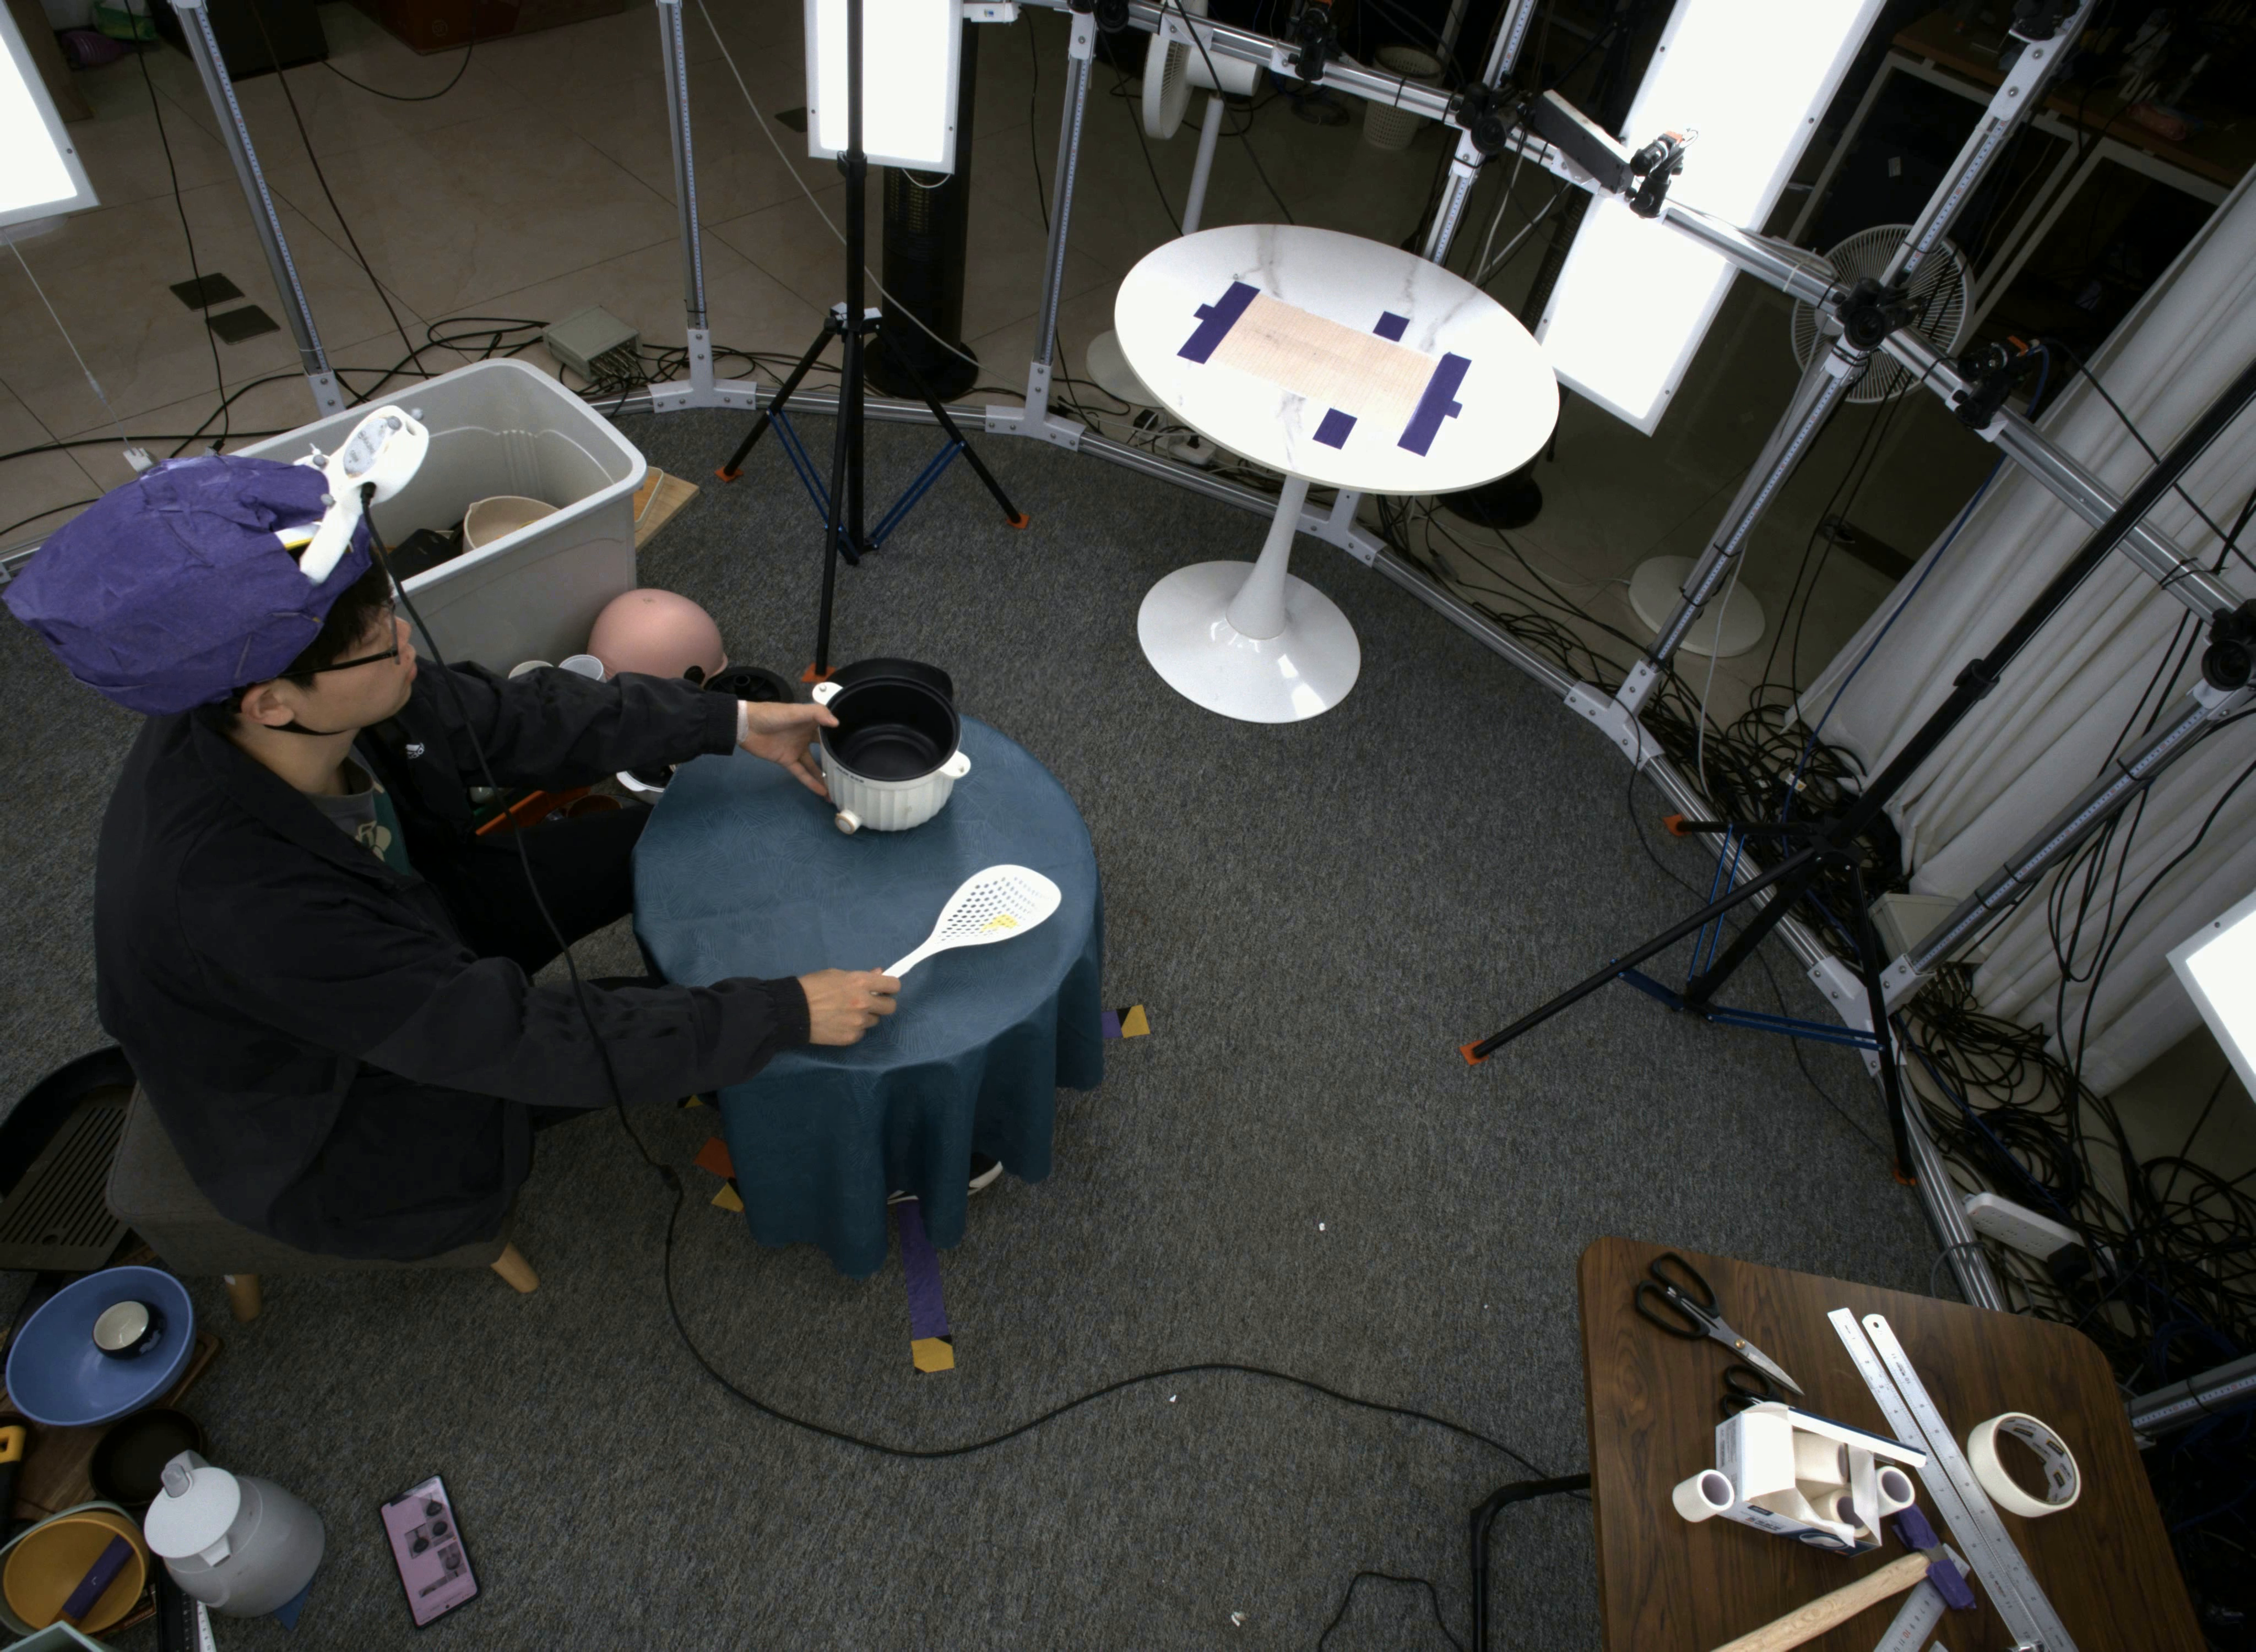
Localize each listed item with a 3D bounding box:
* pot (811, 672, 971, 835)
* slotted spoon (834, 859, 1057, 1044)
[{"bbox_3d":[-0.319,-0.086,1.725,0.236,0.146,0.190,28,49,10],"label":"pot"},{"bbox_3d":[-0.231,0.151,1.607,0.132,0.052,0.349,29,45,31],"label":"slotted spoon"}]
